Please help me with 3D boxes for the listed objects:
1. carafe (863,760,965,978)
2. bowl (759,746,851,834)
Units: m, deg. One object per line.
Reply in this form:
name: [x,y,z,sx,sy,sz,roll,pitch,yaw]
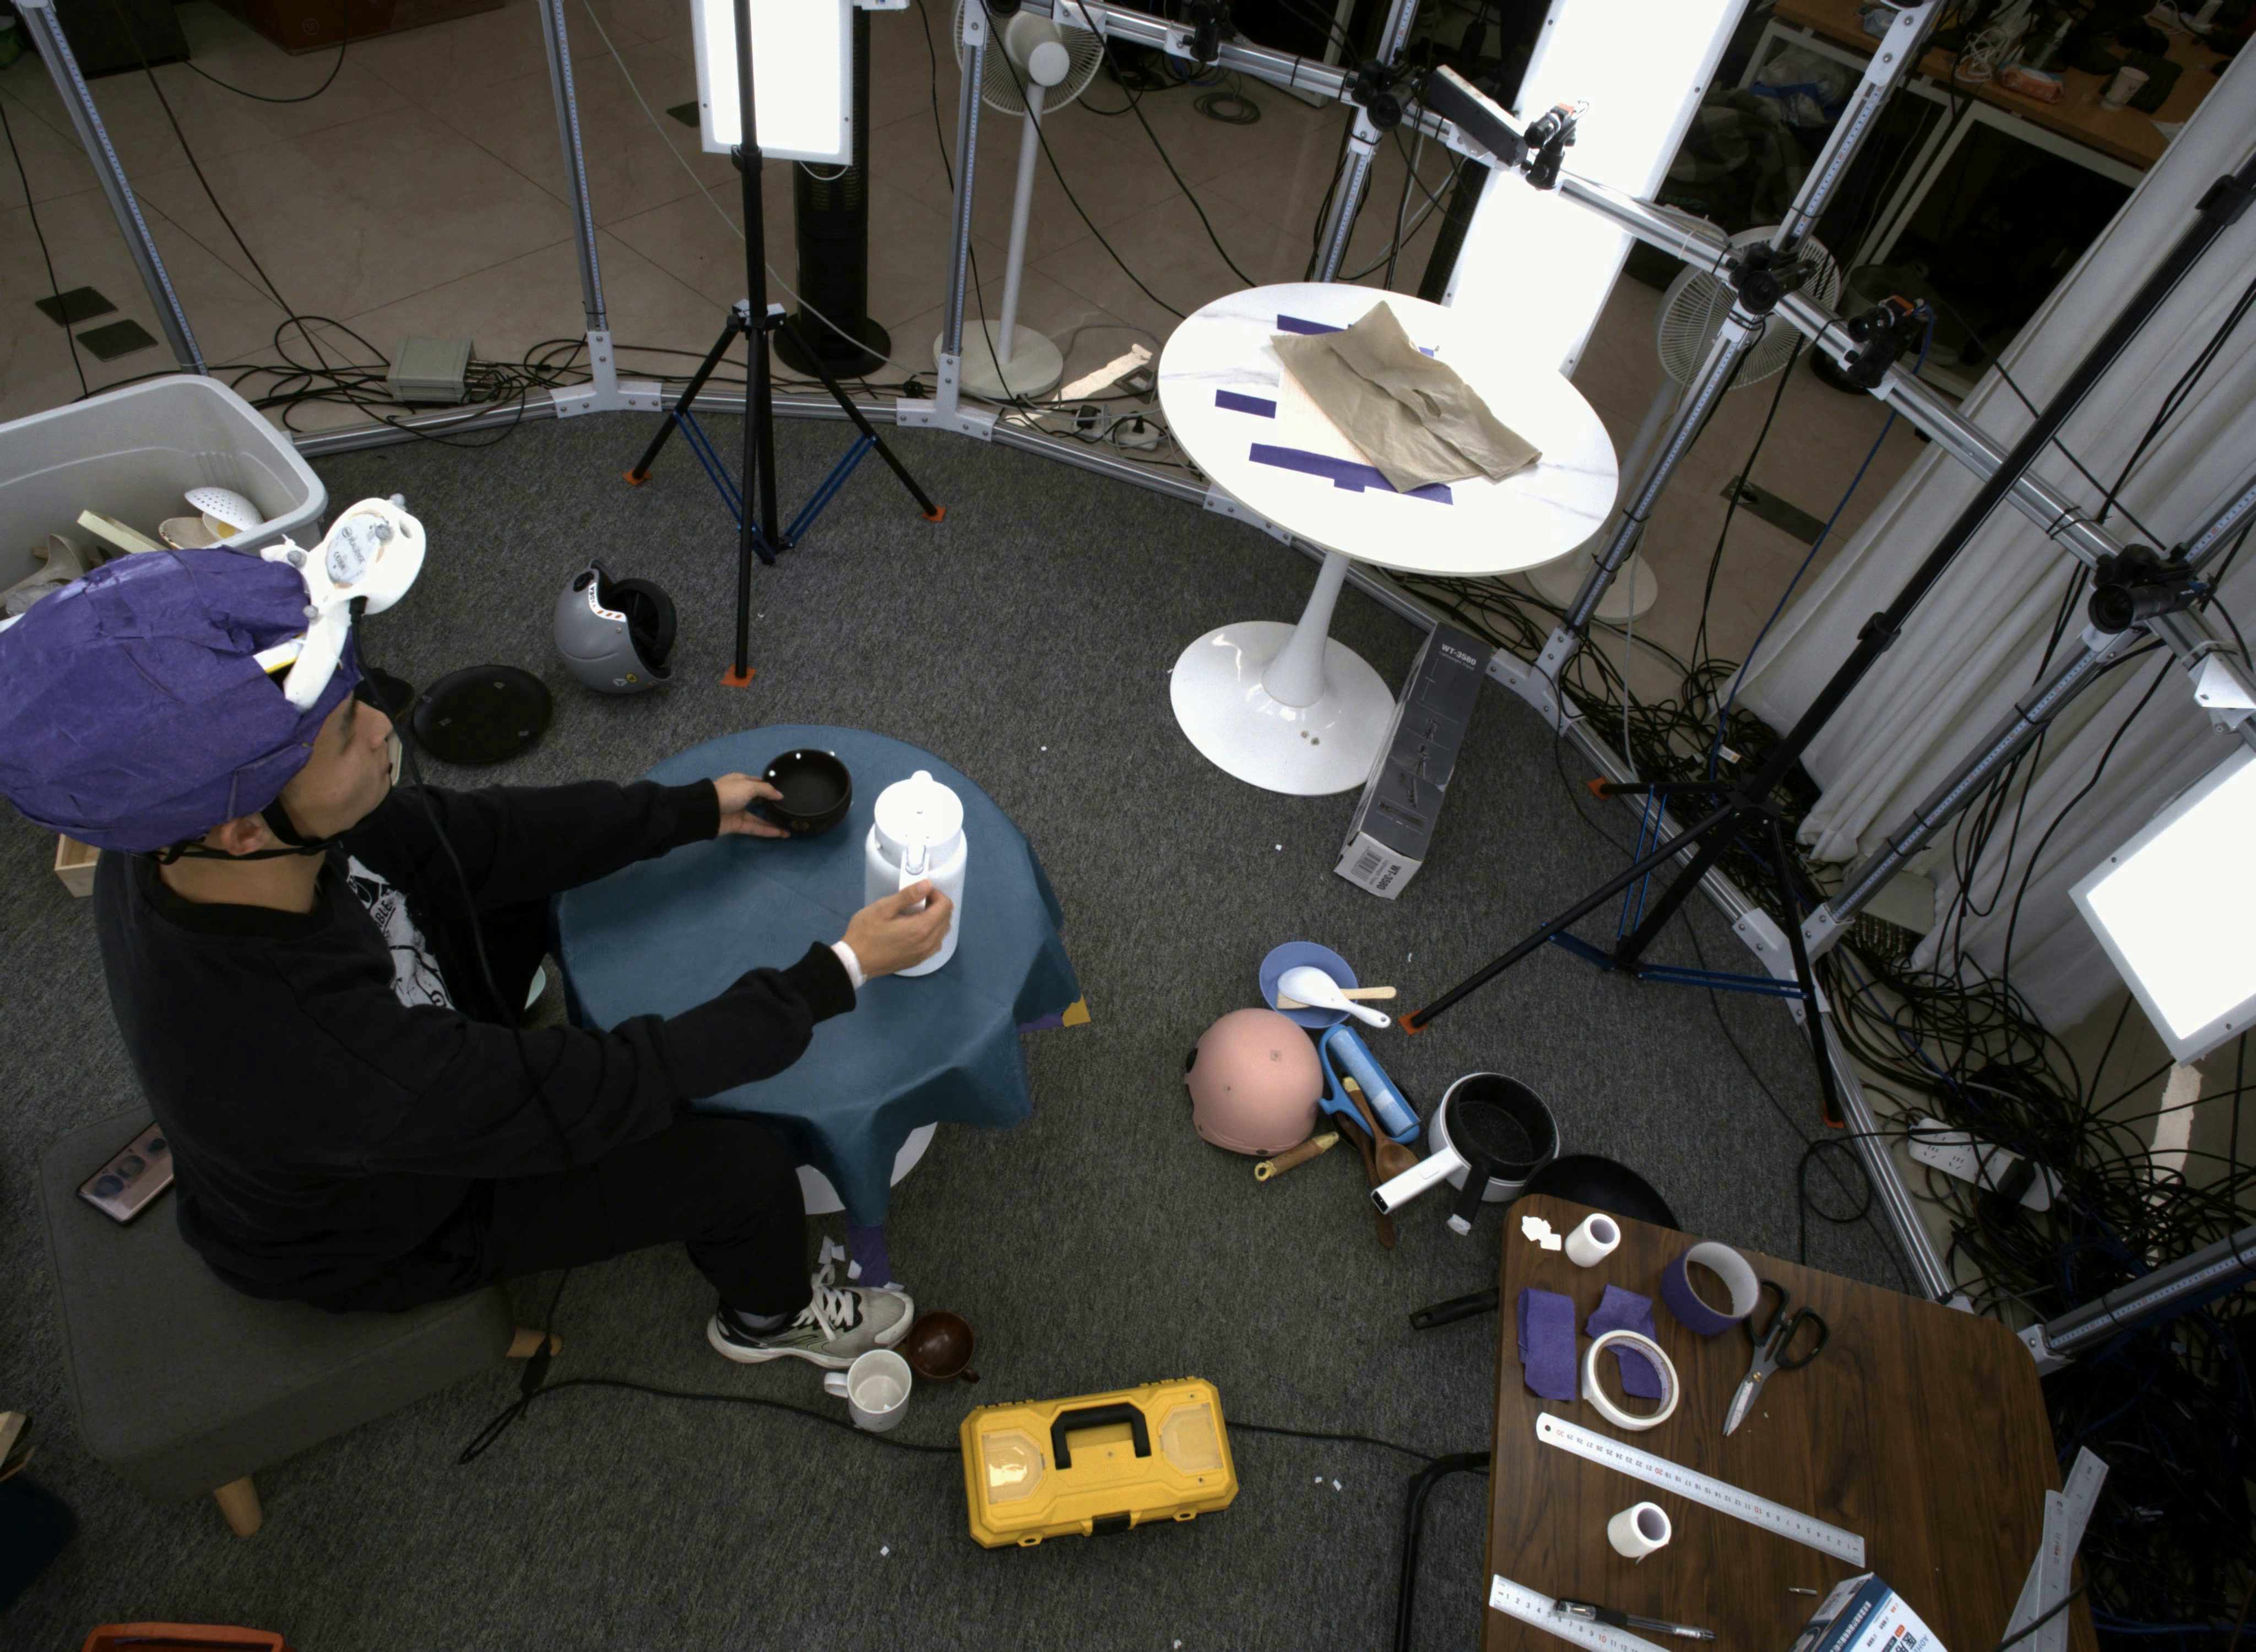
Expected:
carafe: [-0.253,0.074,1.538,0.124,0.274,0.169,3,52,-11]
bowl: [-0.424,-0.040,1.703,0.118,0.071,0.116,7,53,-8]
